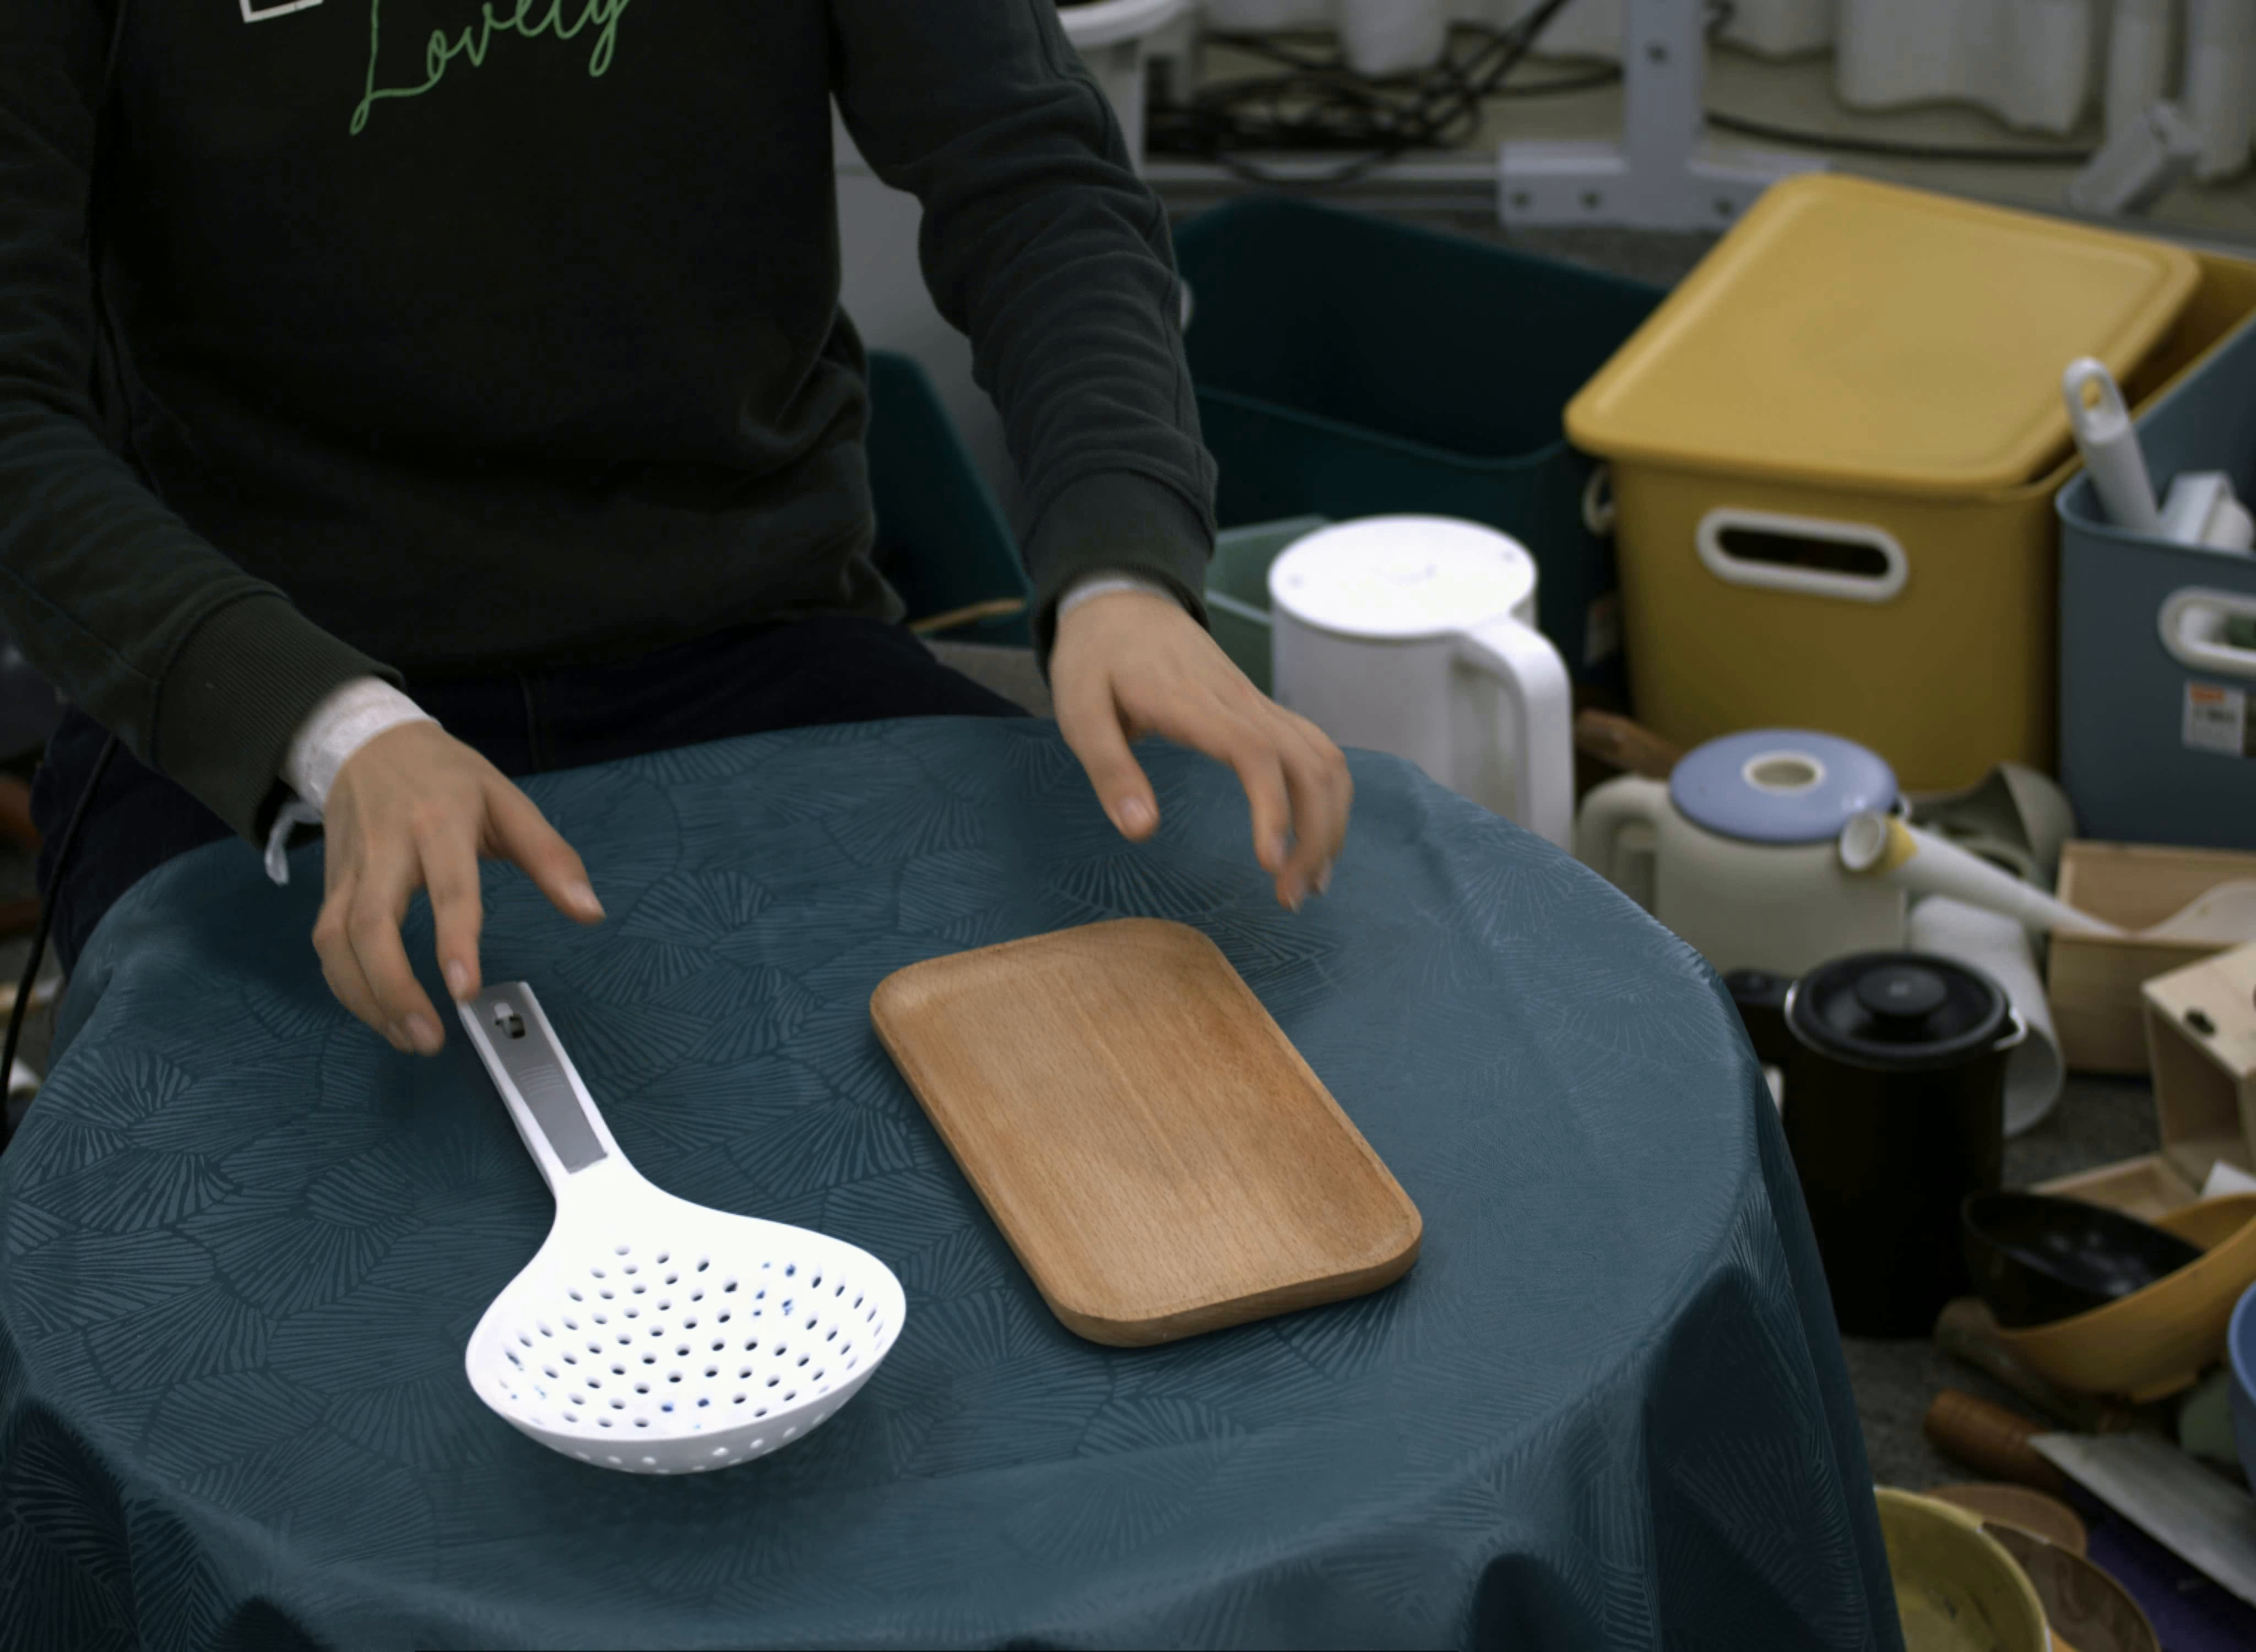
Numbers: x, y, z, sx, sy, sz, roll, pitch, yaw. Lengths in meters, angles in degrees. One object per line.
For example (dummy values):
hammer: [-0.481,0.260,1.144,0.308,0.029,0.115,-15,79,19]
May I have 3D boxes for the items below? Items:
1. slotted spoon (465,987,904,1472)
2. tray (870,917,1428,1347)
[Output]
slotted spoon: [-0.169,0.124,1.824,0.136,0.045,0.353,-11,27,-15]
tray: [0.003,0.100,1.885,0.131,0.022,0.253,-9,27,-16]
